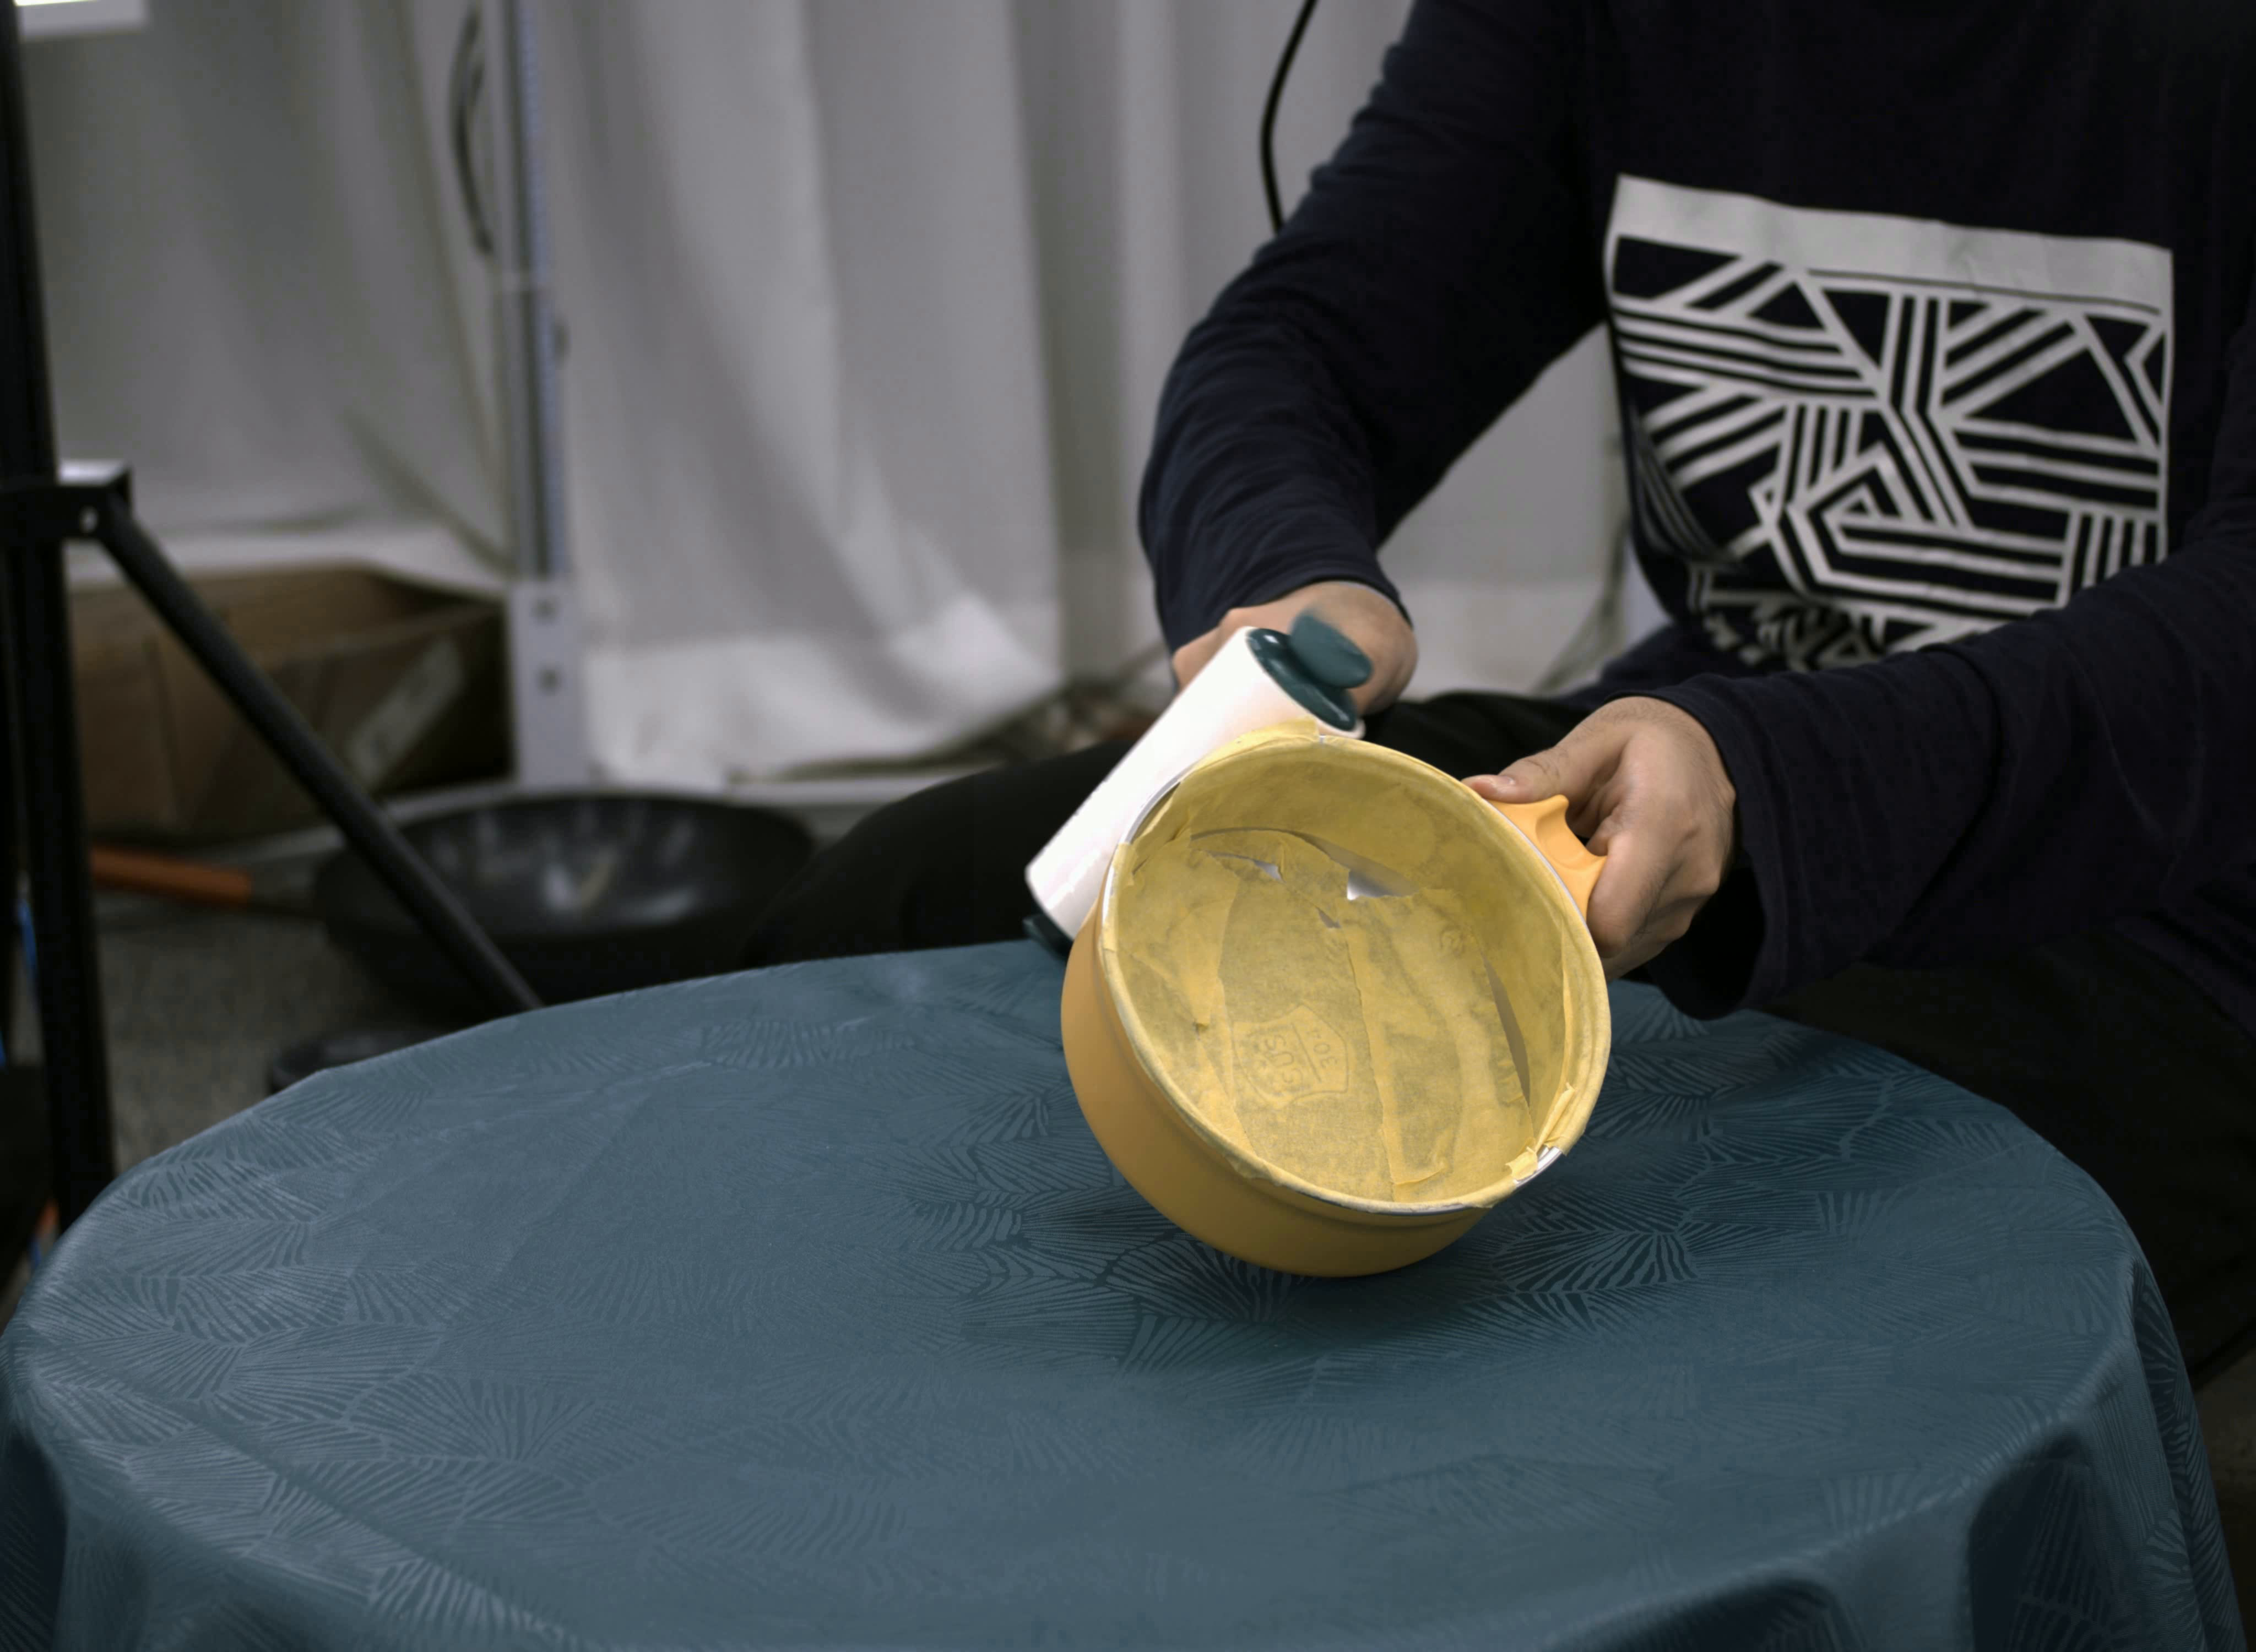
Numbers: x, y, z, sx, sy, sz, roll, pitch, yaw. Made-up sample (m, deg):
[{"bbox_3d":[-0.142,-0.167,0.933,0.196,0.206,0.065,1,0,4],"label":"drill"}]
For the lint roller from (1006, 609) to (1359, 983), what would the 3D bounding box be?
[{"bbox_3d":[0.030,-0.021,1.625,0.048,0.135,0.178,43,18,1],"label":"lint roller"}]

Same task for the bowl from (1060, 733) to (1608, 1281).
[{"bbox_3d":[0.064,0.051,1.505,0.154,0.074,0.176,44,53,13],"label":"bowl"}]
